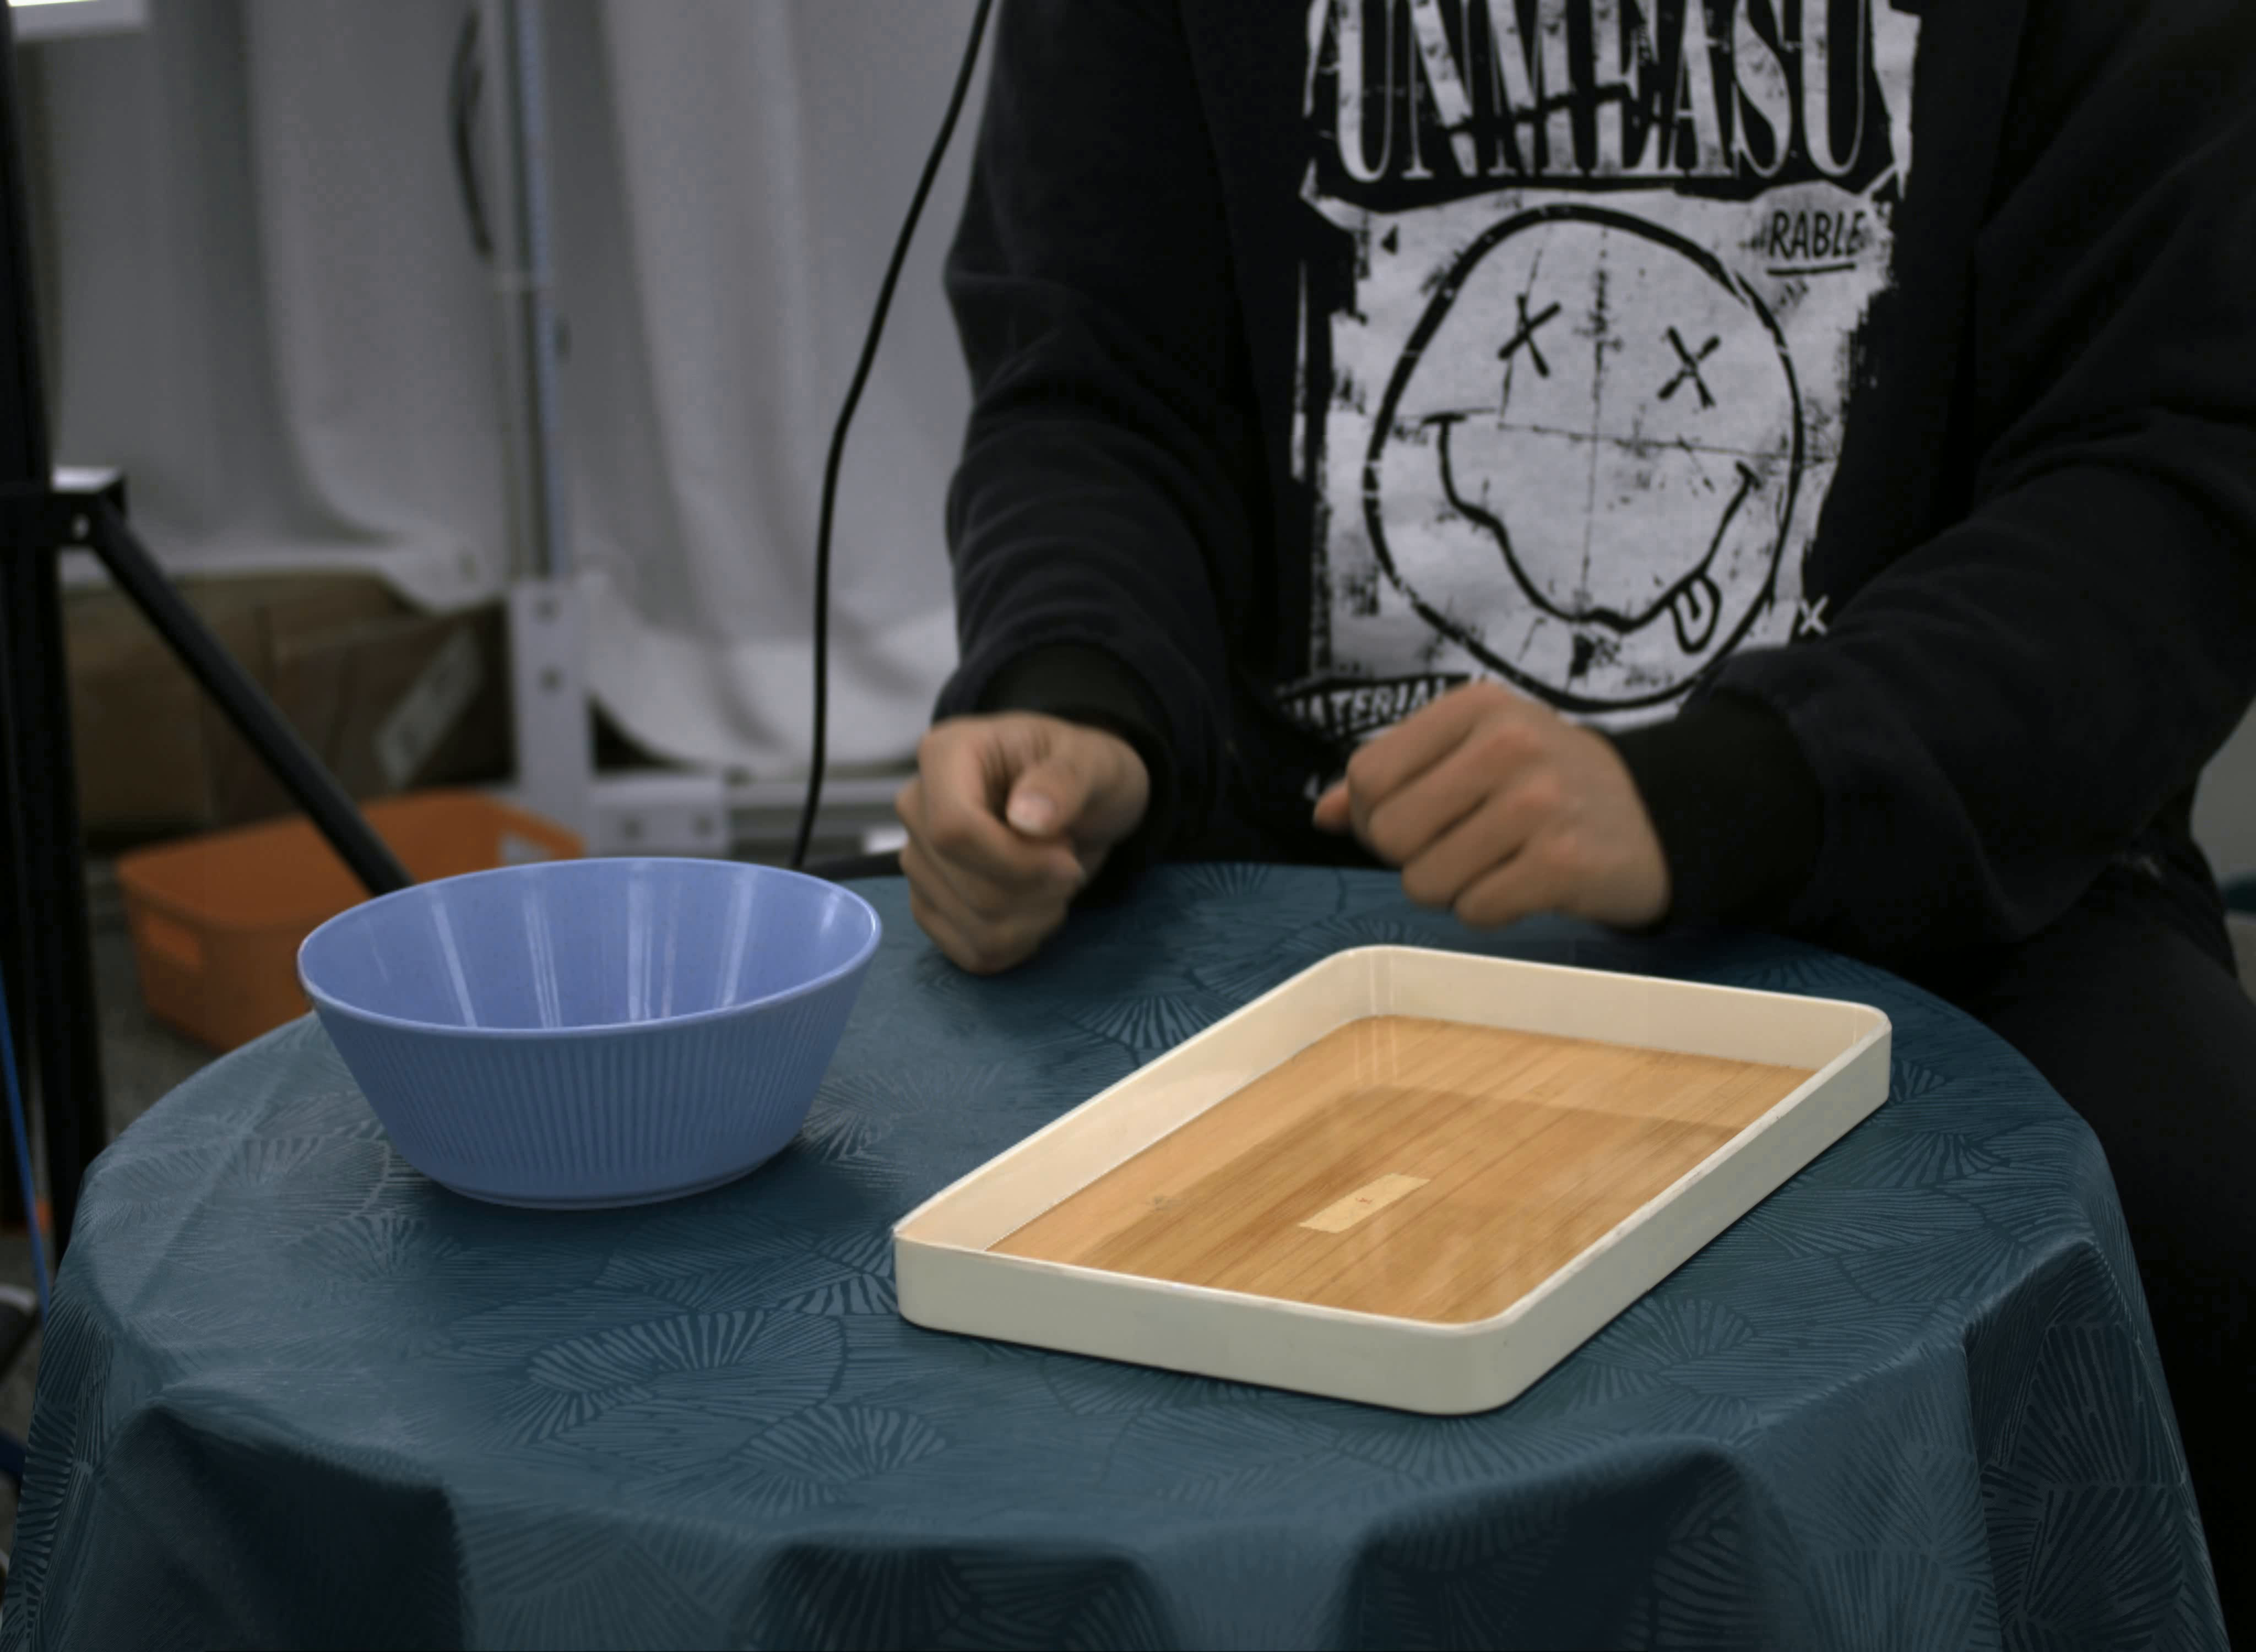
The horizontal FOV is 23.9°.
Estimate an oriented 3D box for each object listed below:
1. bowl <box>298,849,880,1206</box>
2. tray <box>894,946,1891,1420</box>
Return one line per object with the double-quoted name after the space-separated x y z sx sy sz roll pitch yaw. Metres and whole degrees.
-0.160 0.064 1.610 0.175 0.070 0.177 -3 17 0 "bowl"
0.084 0.097 1.534 0.195 0.027 0.295 7 18 29 "tray"
